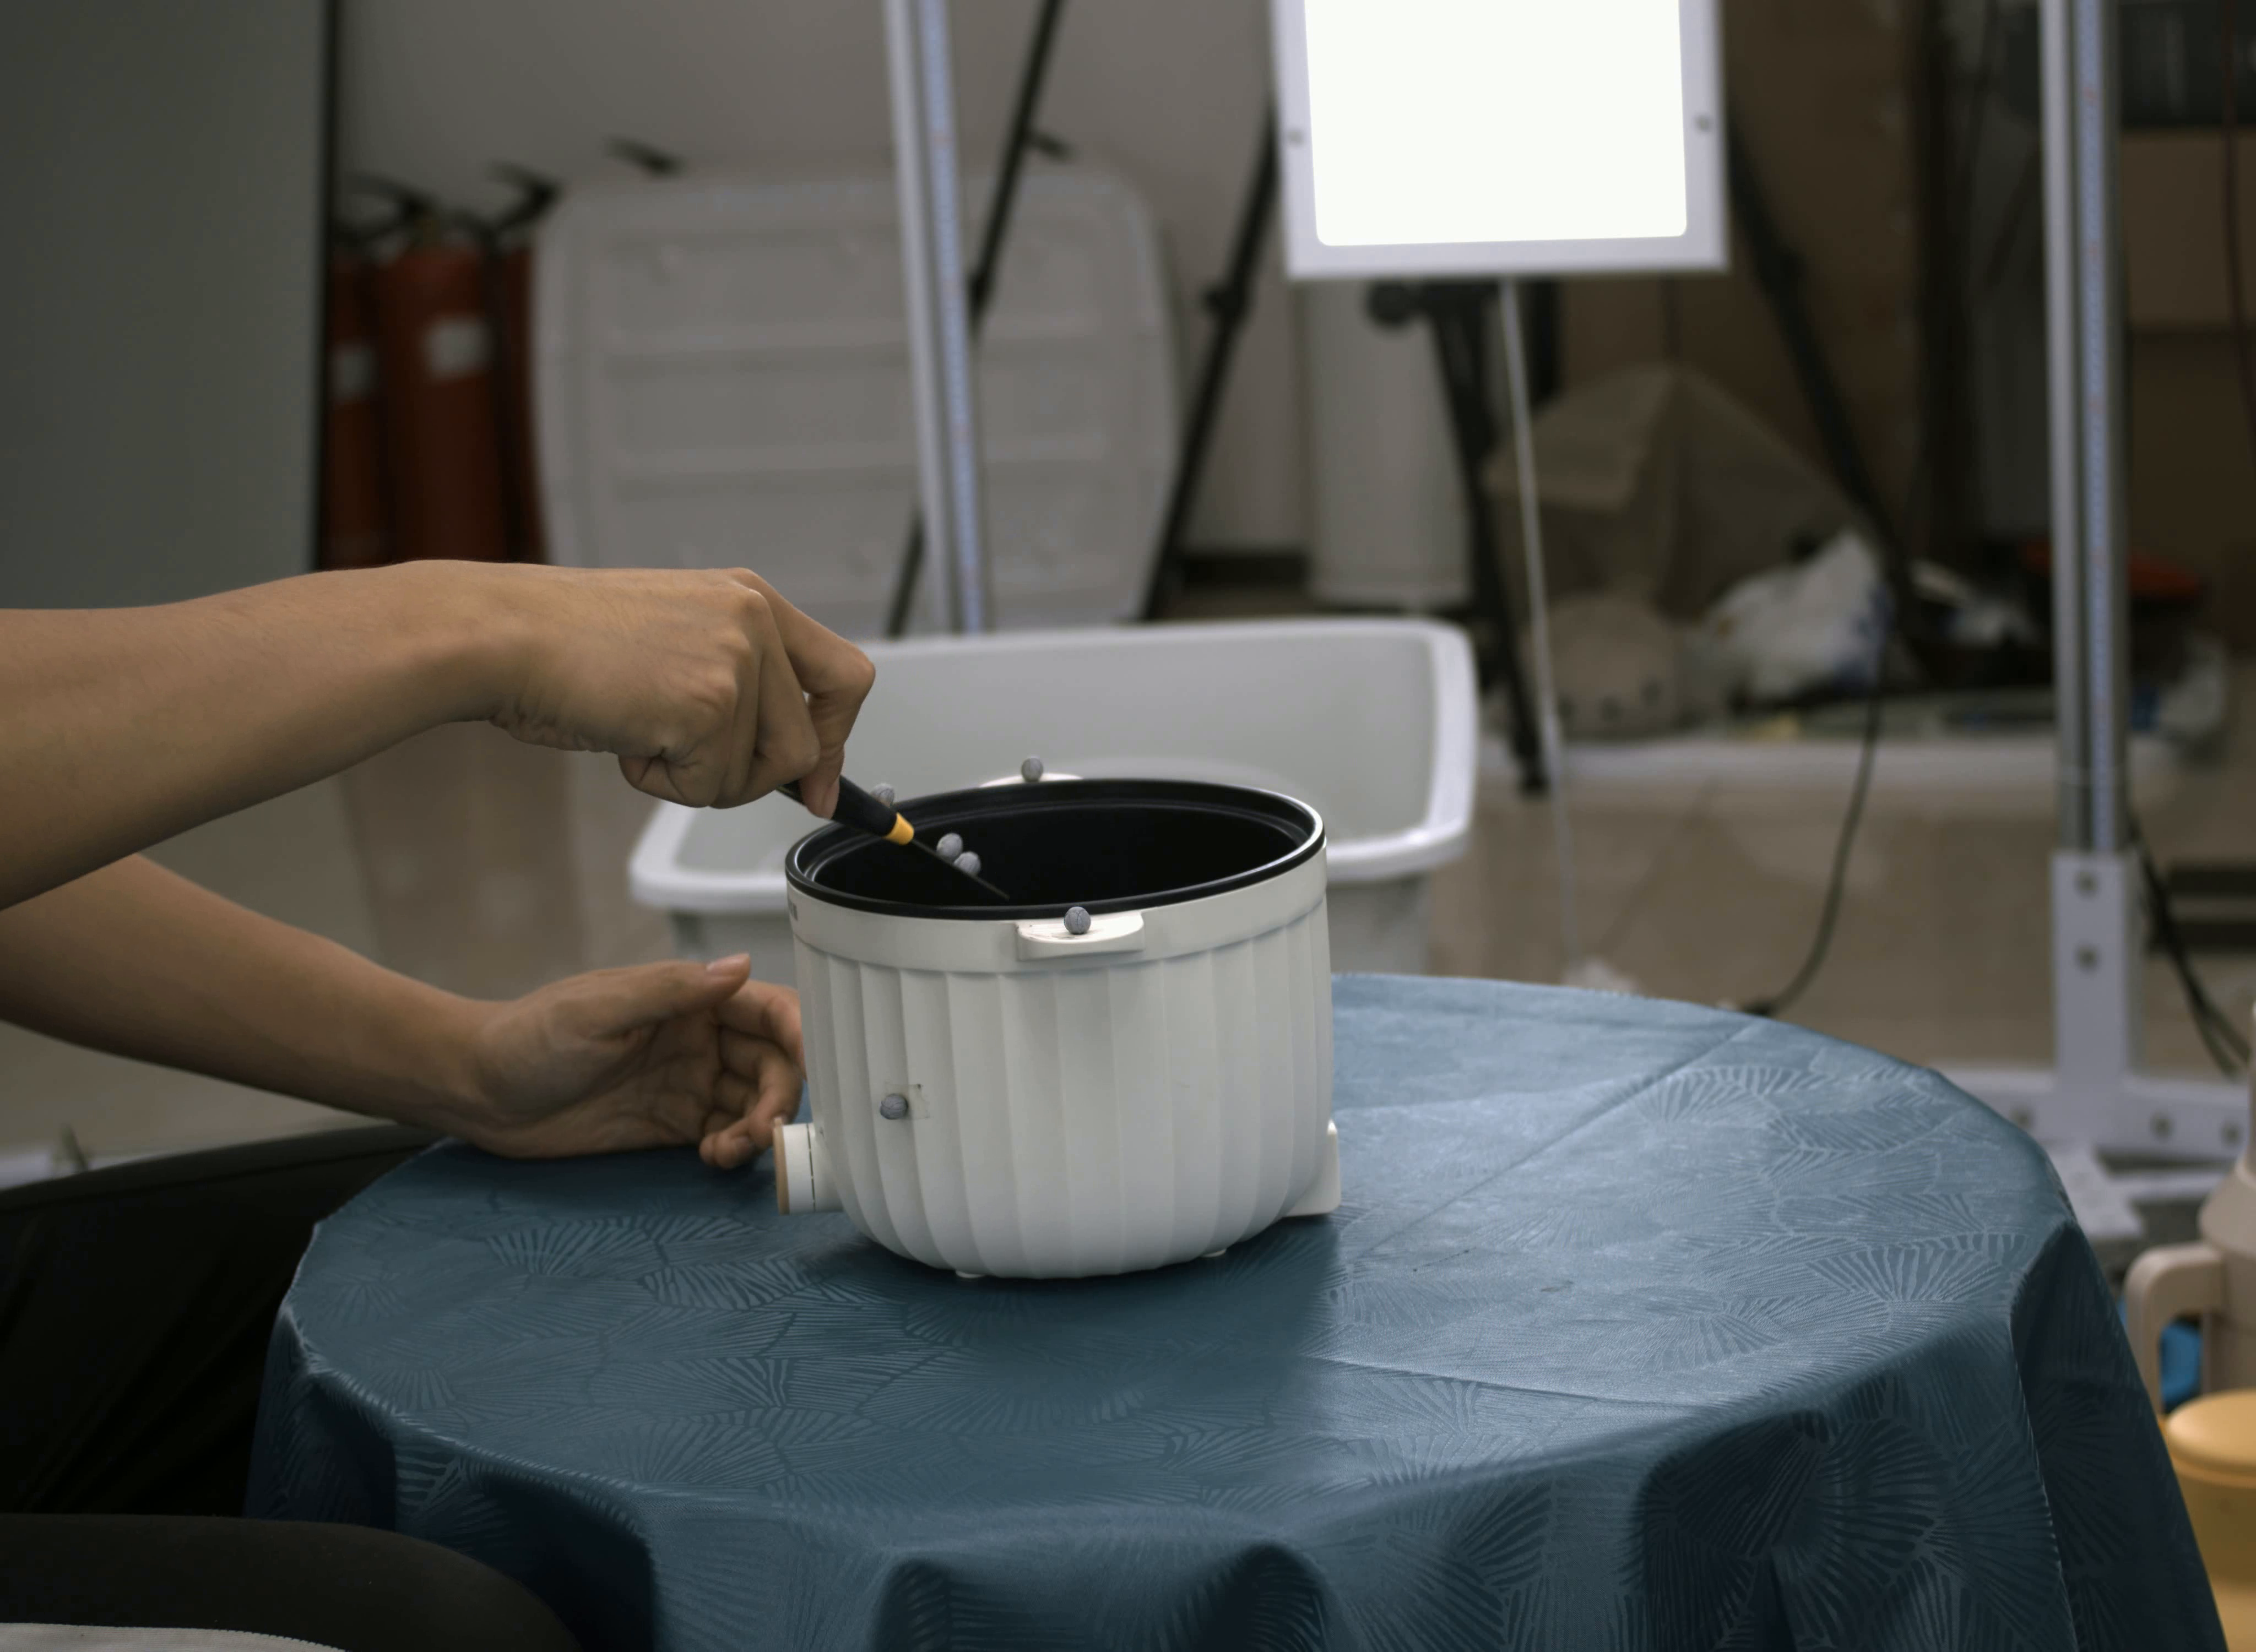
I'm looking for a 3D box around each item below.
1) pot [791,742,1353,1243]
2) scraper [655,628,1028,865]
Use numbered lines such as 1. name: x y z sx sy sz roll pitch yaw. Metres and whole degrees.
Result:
1. pot: -0.019 0.059 1.861 0.189 0.143 0.241 -2 12 -5
2. scraper: -0.092 -0.024 1.765 0.039 0.015 0.168 26 -5 45
